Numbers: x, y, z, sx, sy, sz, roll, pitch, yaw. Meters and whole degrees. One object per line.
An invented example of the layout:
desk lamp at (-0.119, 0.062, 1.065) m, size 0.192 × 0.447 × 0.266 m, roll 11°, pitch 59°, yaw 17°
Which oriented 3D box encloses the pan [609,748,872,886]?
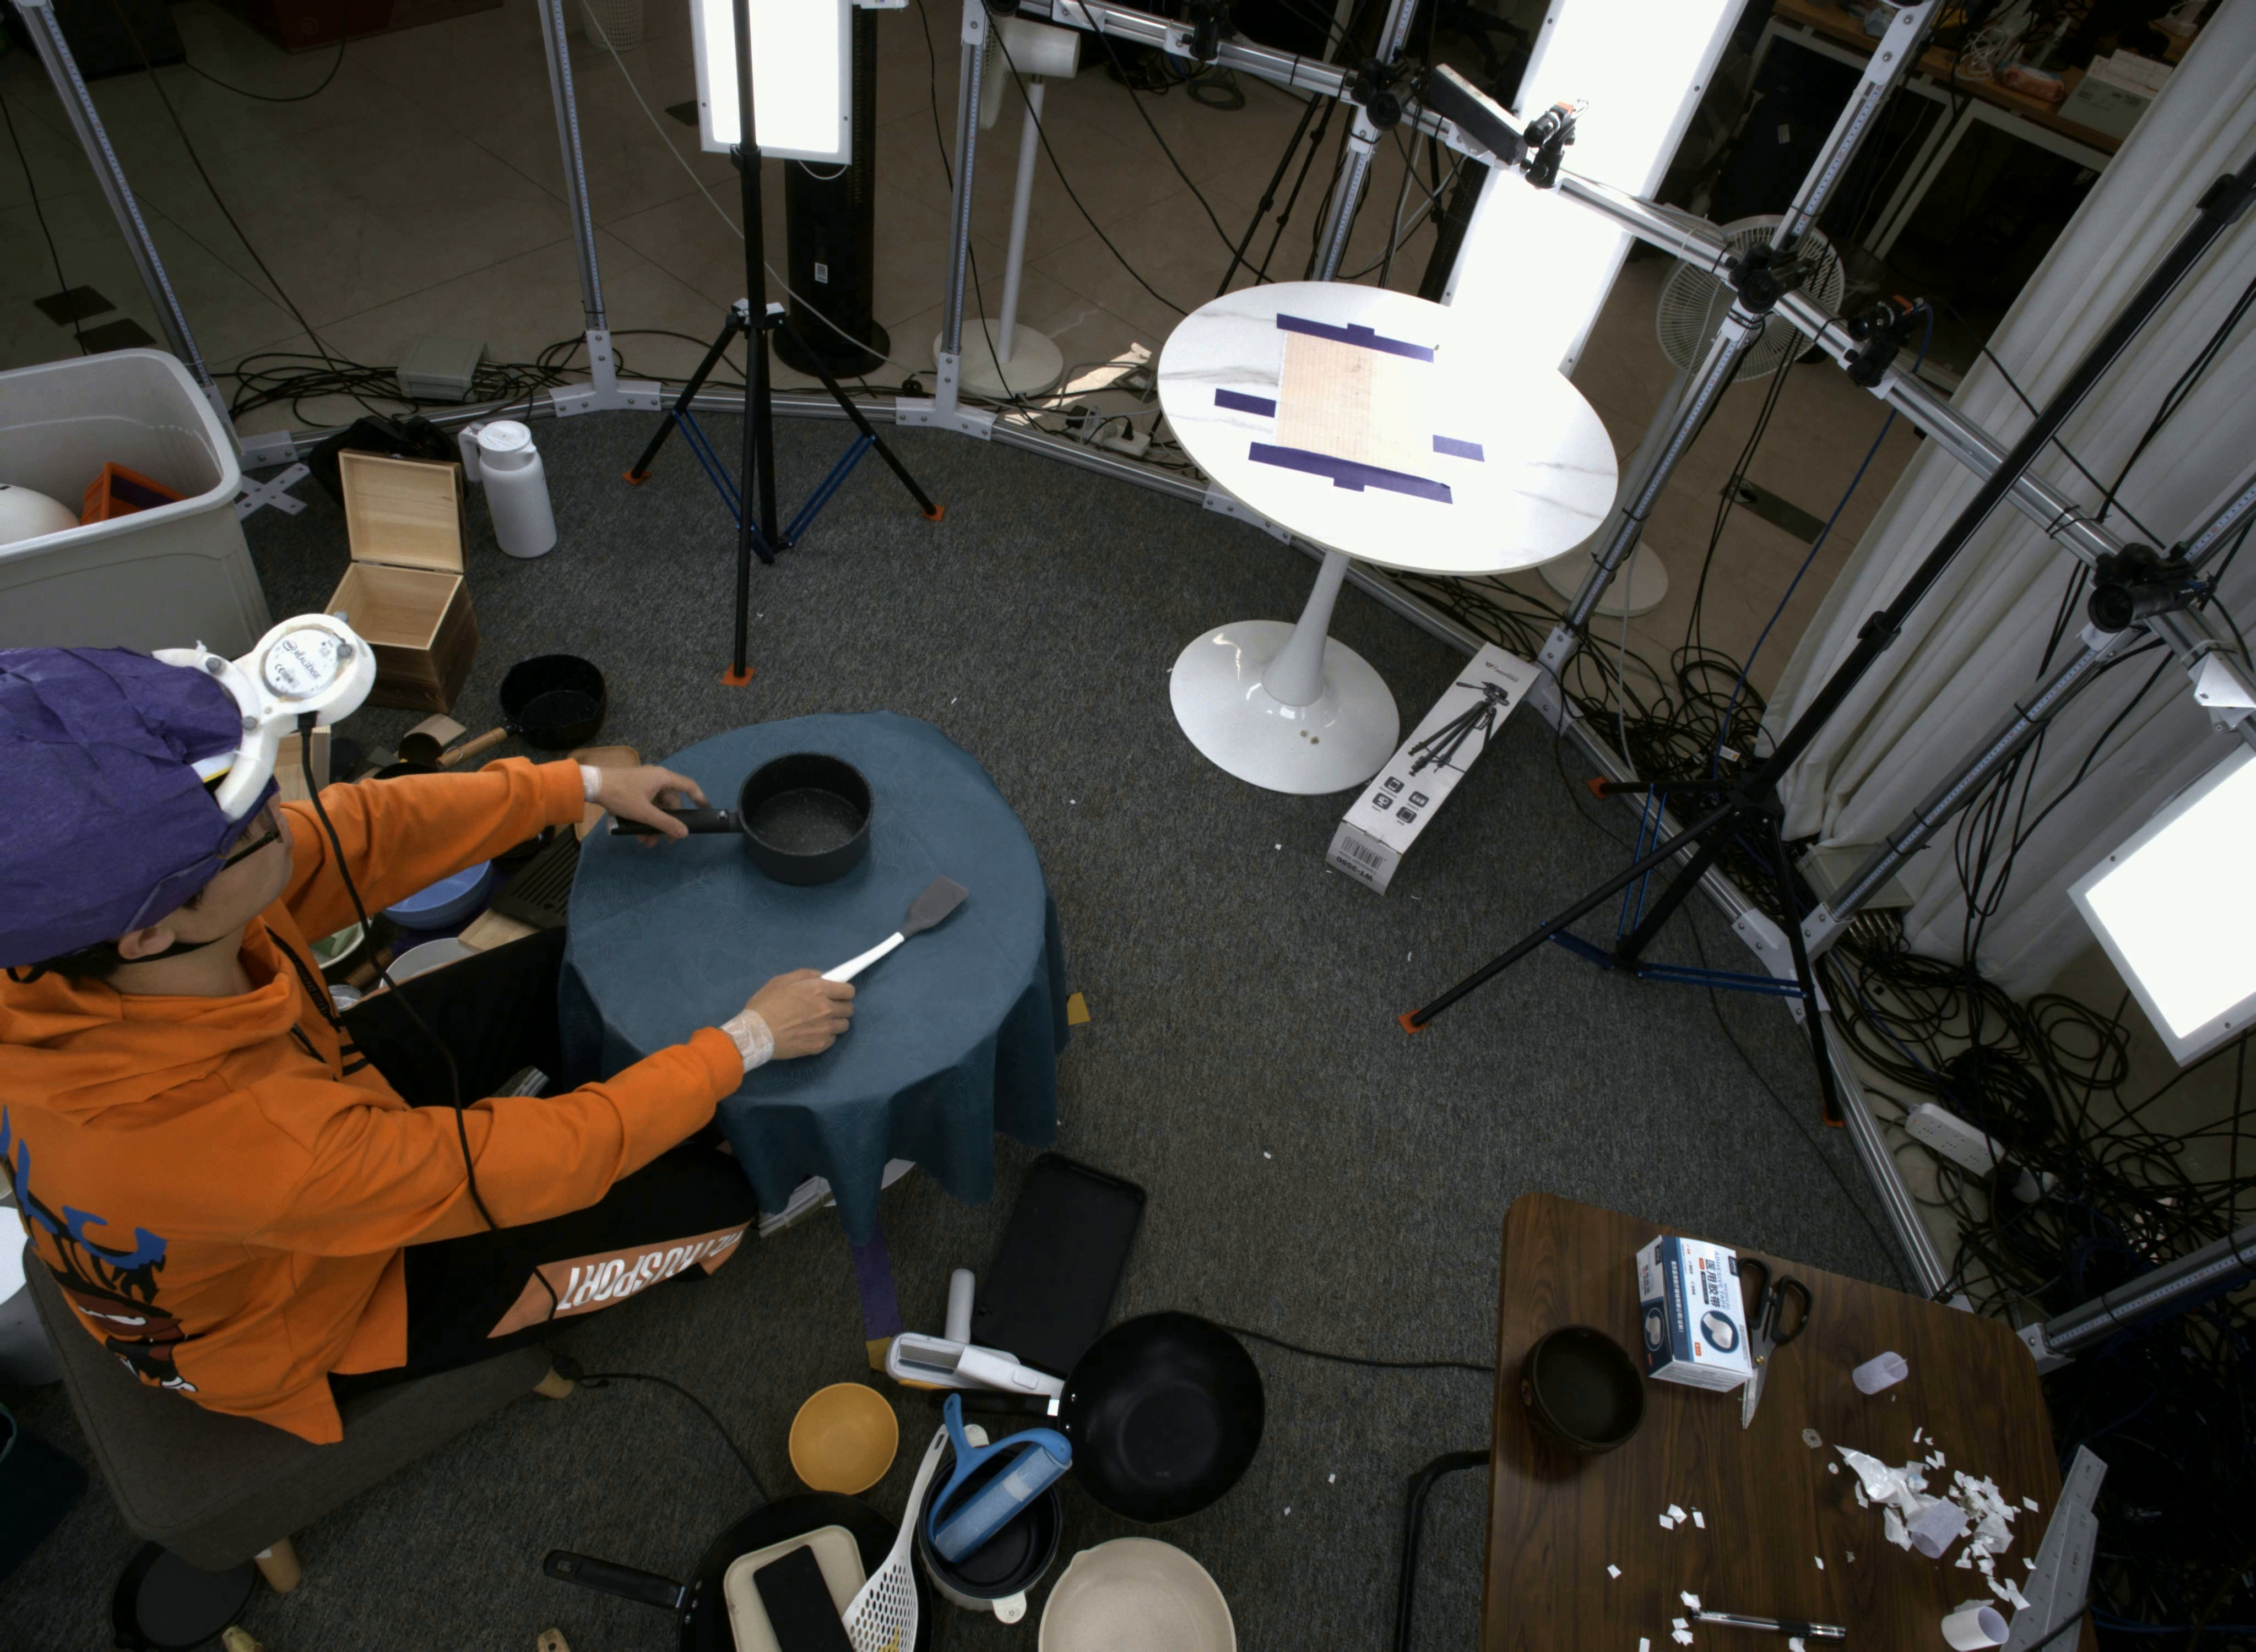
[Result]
pan at (-0.492, -0.005, 1.645) m, size 0.330 × 0.088 × 0.168 m, roll -4°, pitch 54°, yaw -20°

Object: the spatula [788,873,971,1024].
spatula at (-0.305, 0.146, 1.609) m, size 0.057 × 0.033 × 0.288 m, roll 26°, pitch 44°, yaw 25°
